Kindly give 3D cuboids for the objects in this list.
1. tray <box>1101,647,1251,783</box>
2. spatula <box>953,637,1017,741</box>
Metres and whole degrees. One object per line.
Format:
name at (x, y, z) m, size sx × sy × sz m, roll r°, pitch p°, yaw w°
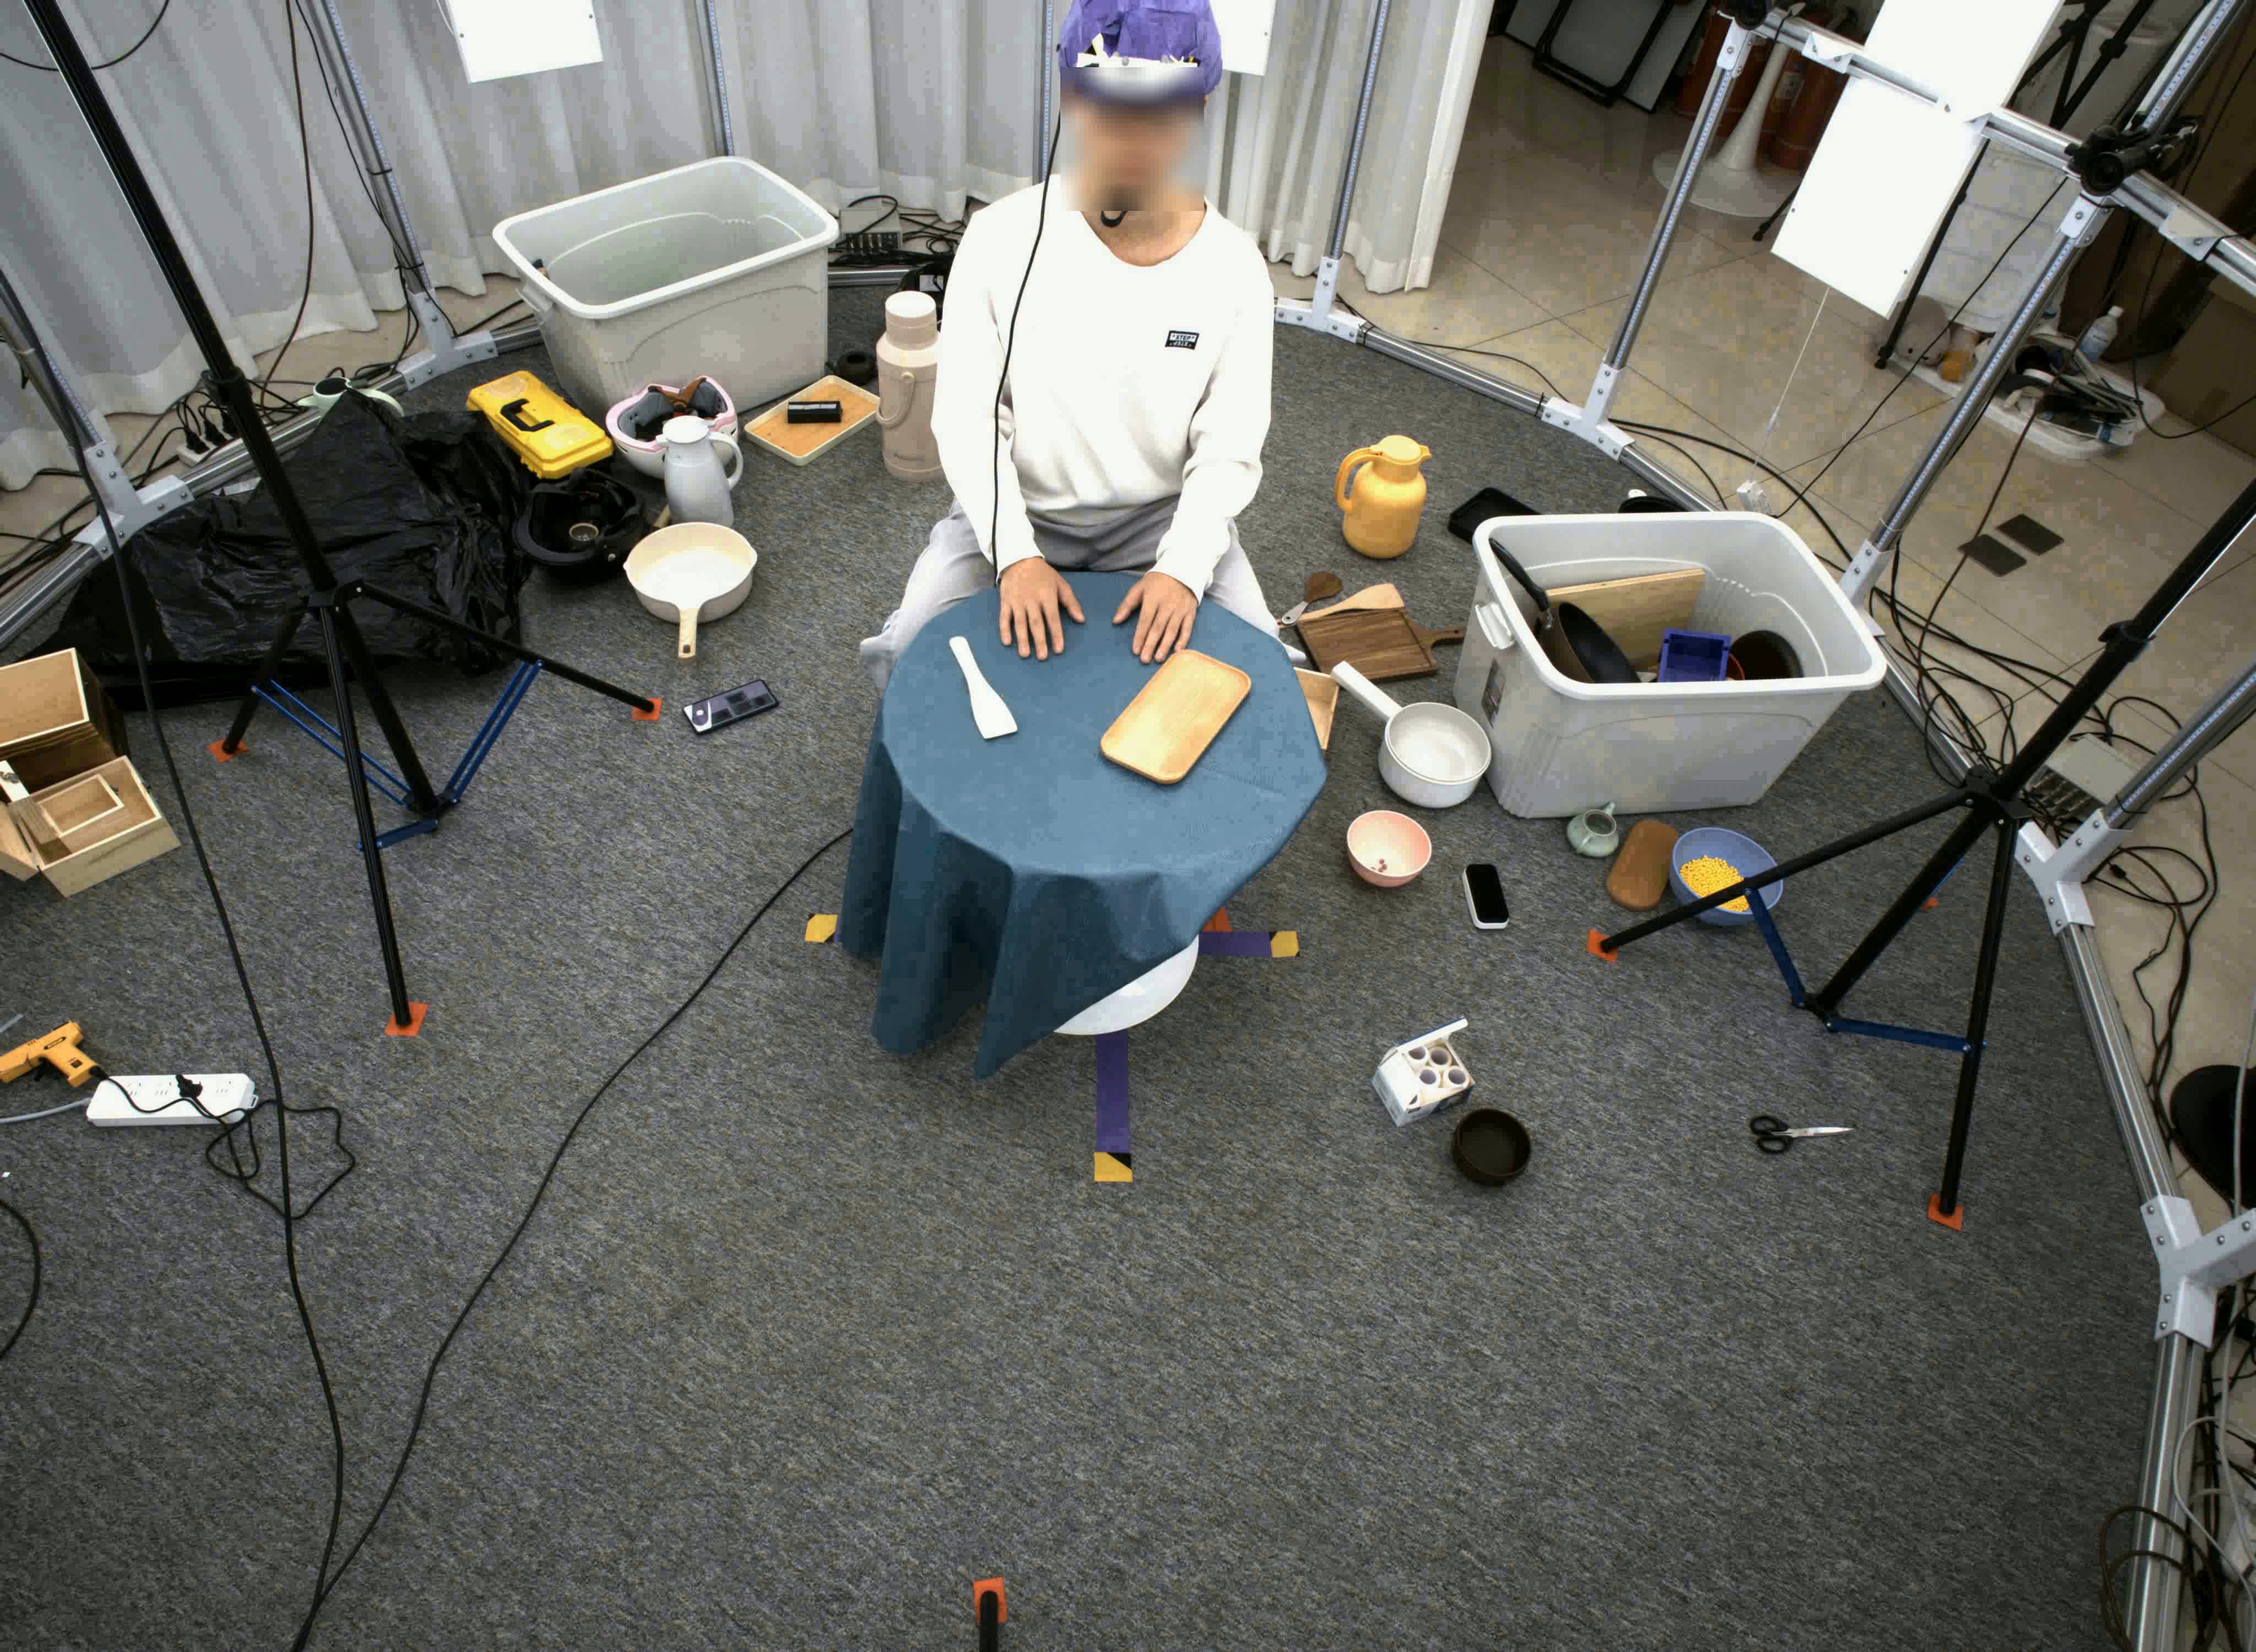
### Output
tray at (0.069, -0.158, 1.794) m, size 0.131 × 0.022 × 0.254 m, roll 27°, pitch 52°, yaw 15°
spatula at (-0.209, -0.198, 1.816) m, size 0.050 × 0.005 × 0.213 m, roll -13°, pitch 52°, yaw -16°
